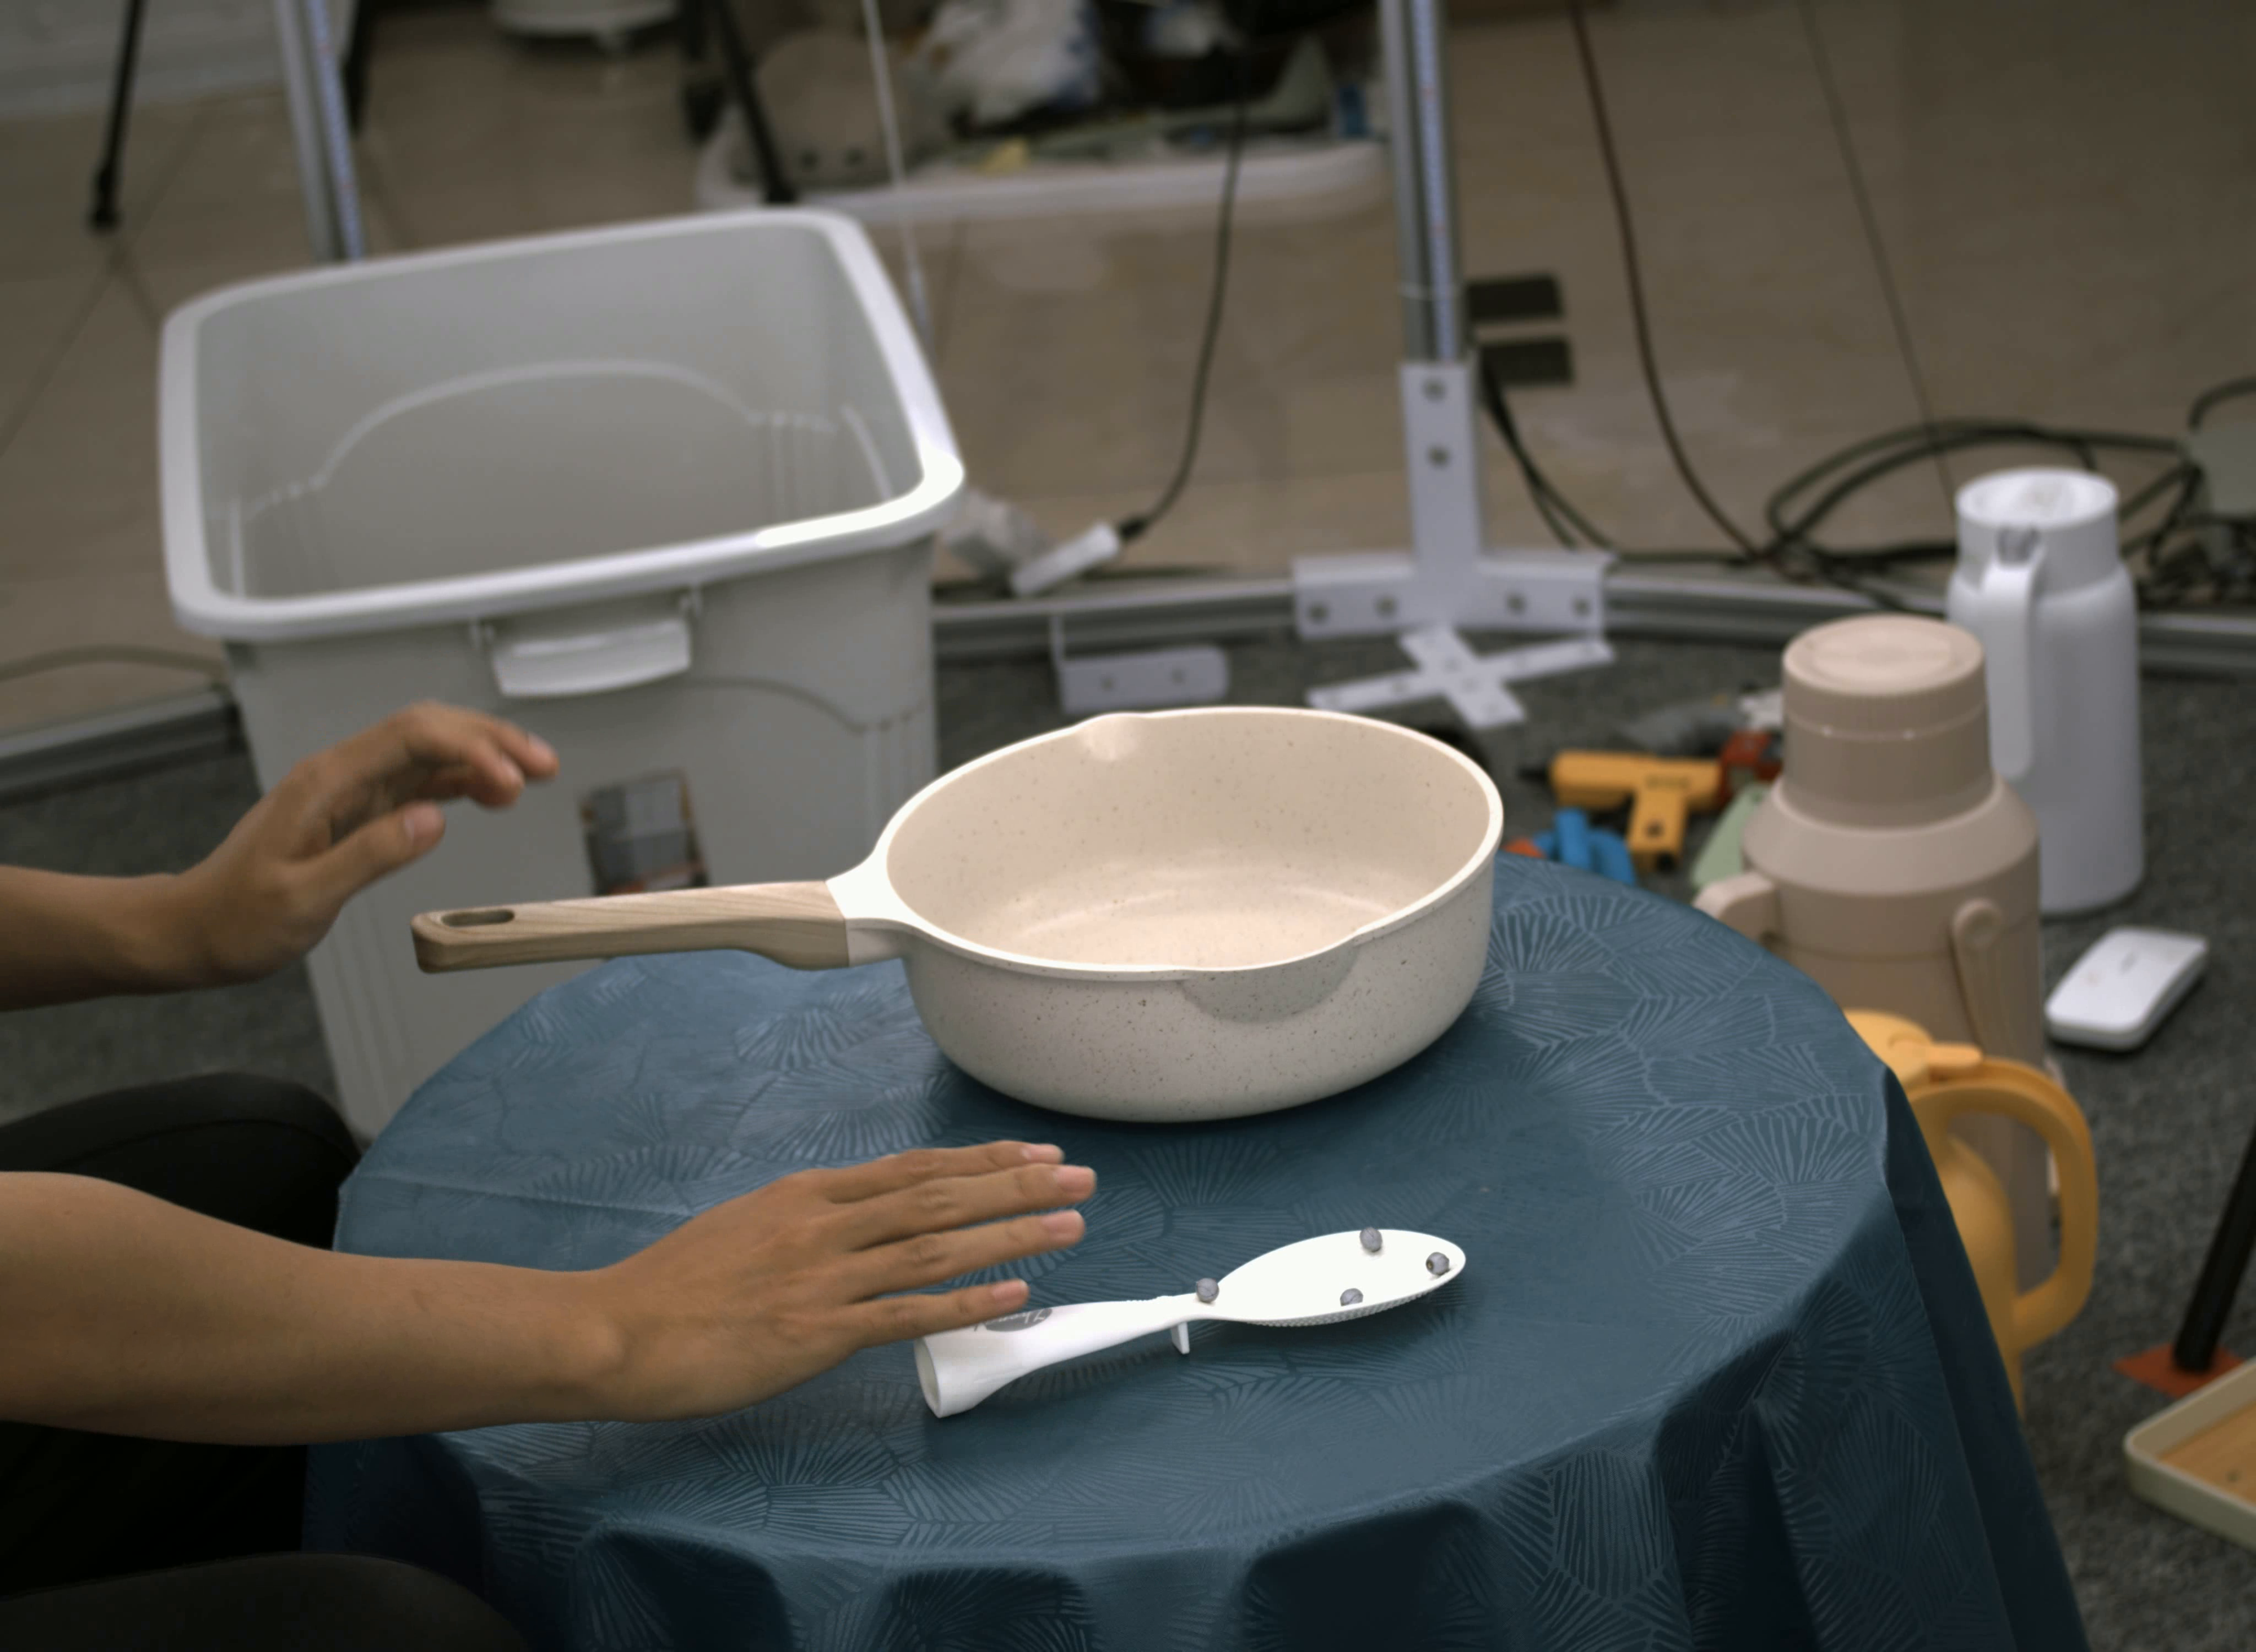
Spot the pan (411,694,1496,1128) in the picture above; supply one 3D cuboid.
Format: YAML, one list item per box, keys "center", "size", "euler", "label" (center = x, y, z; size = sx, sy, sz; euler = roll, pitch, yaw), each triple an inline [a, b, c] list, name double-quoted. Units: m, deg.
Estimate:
- center: [-0.064, 0.049, 2.250]
  size: [0.434, 0.104, 0.259]
  euler: [-12, 28, -11]
  label: "pan"

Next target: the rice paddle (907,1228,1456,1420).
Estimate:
- center: [0.021, 0.173, 2.036]
  size: [0.204, 0.030, 0.068]
  euler: [-13, 21, -15]
  label: "rice paddle"
